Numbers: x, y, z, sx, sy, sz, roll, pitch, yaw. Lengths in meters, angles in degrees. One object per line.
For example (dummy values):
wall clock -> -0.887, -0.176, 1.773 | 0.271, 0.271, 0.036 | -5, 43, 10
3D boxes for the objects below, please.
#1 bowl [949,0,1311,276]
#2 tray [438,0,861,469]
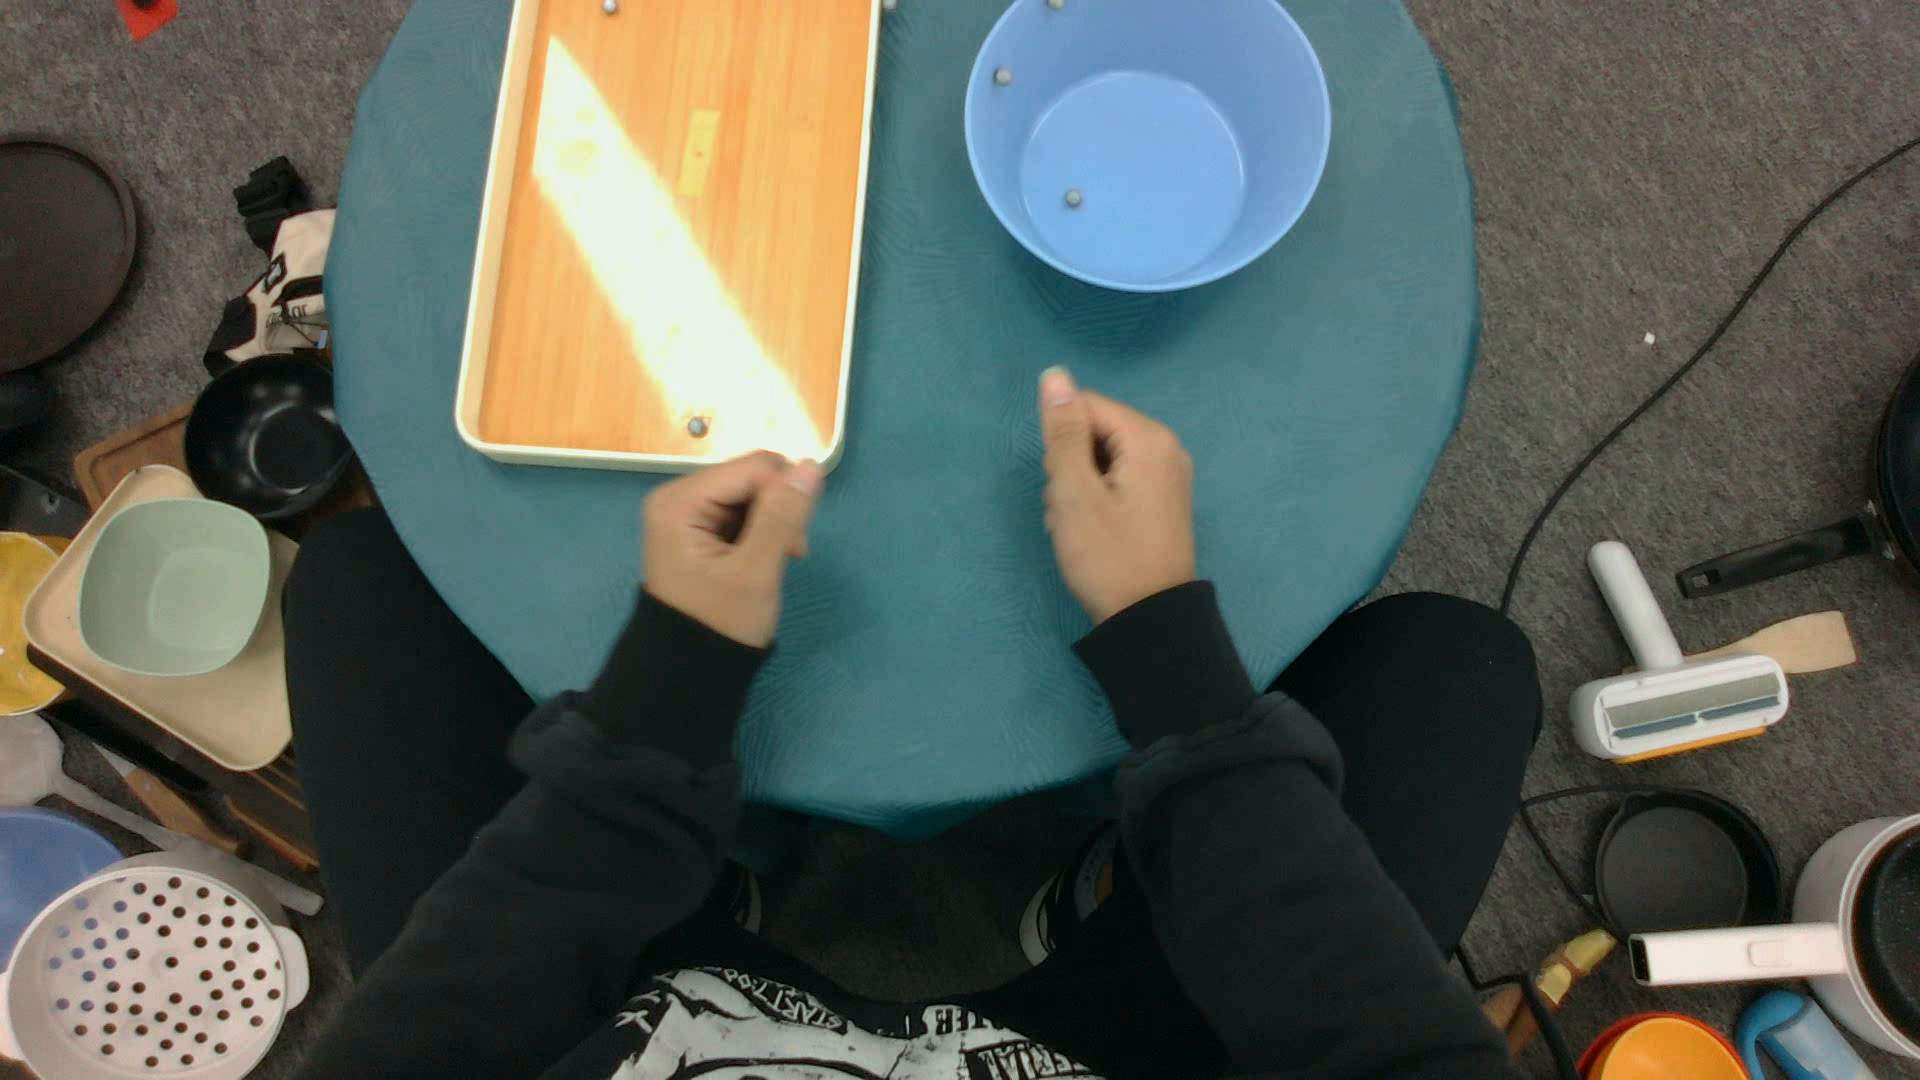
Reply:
bowl -> 0.082, -0.203, 0.696 | 0.176, 0.070, 0.176 | 0, 77, 0
tray -> -0.154, -0.188, 0.713 | 0.191, 0.027, 0.301 | 3, 77, 0
